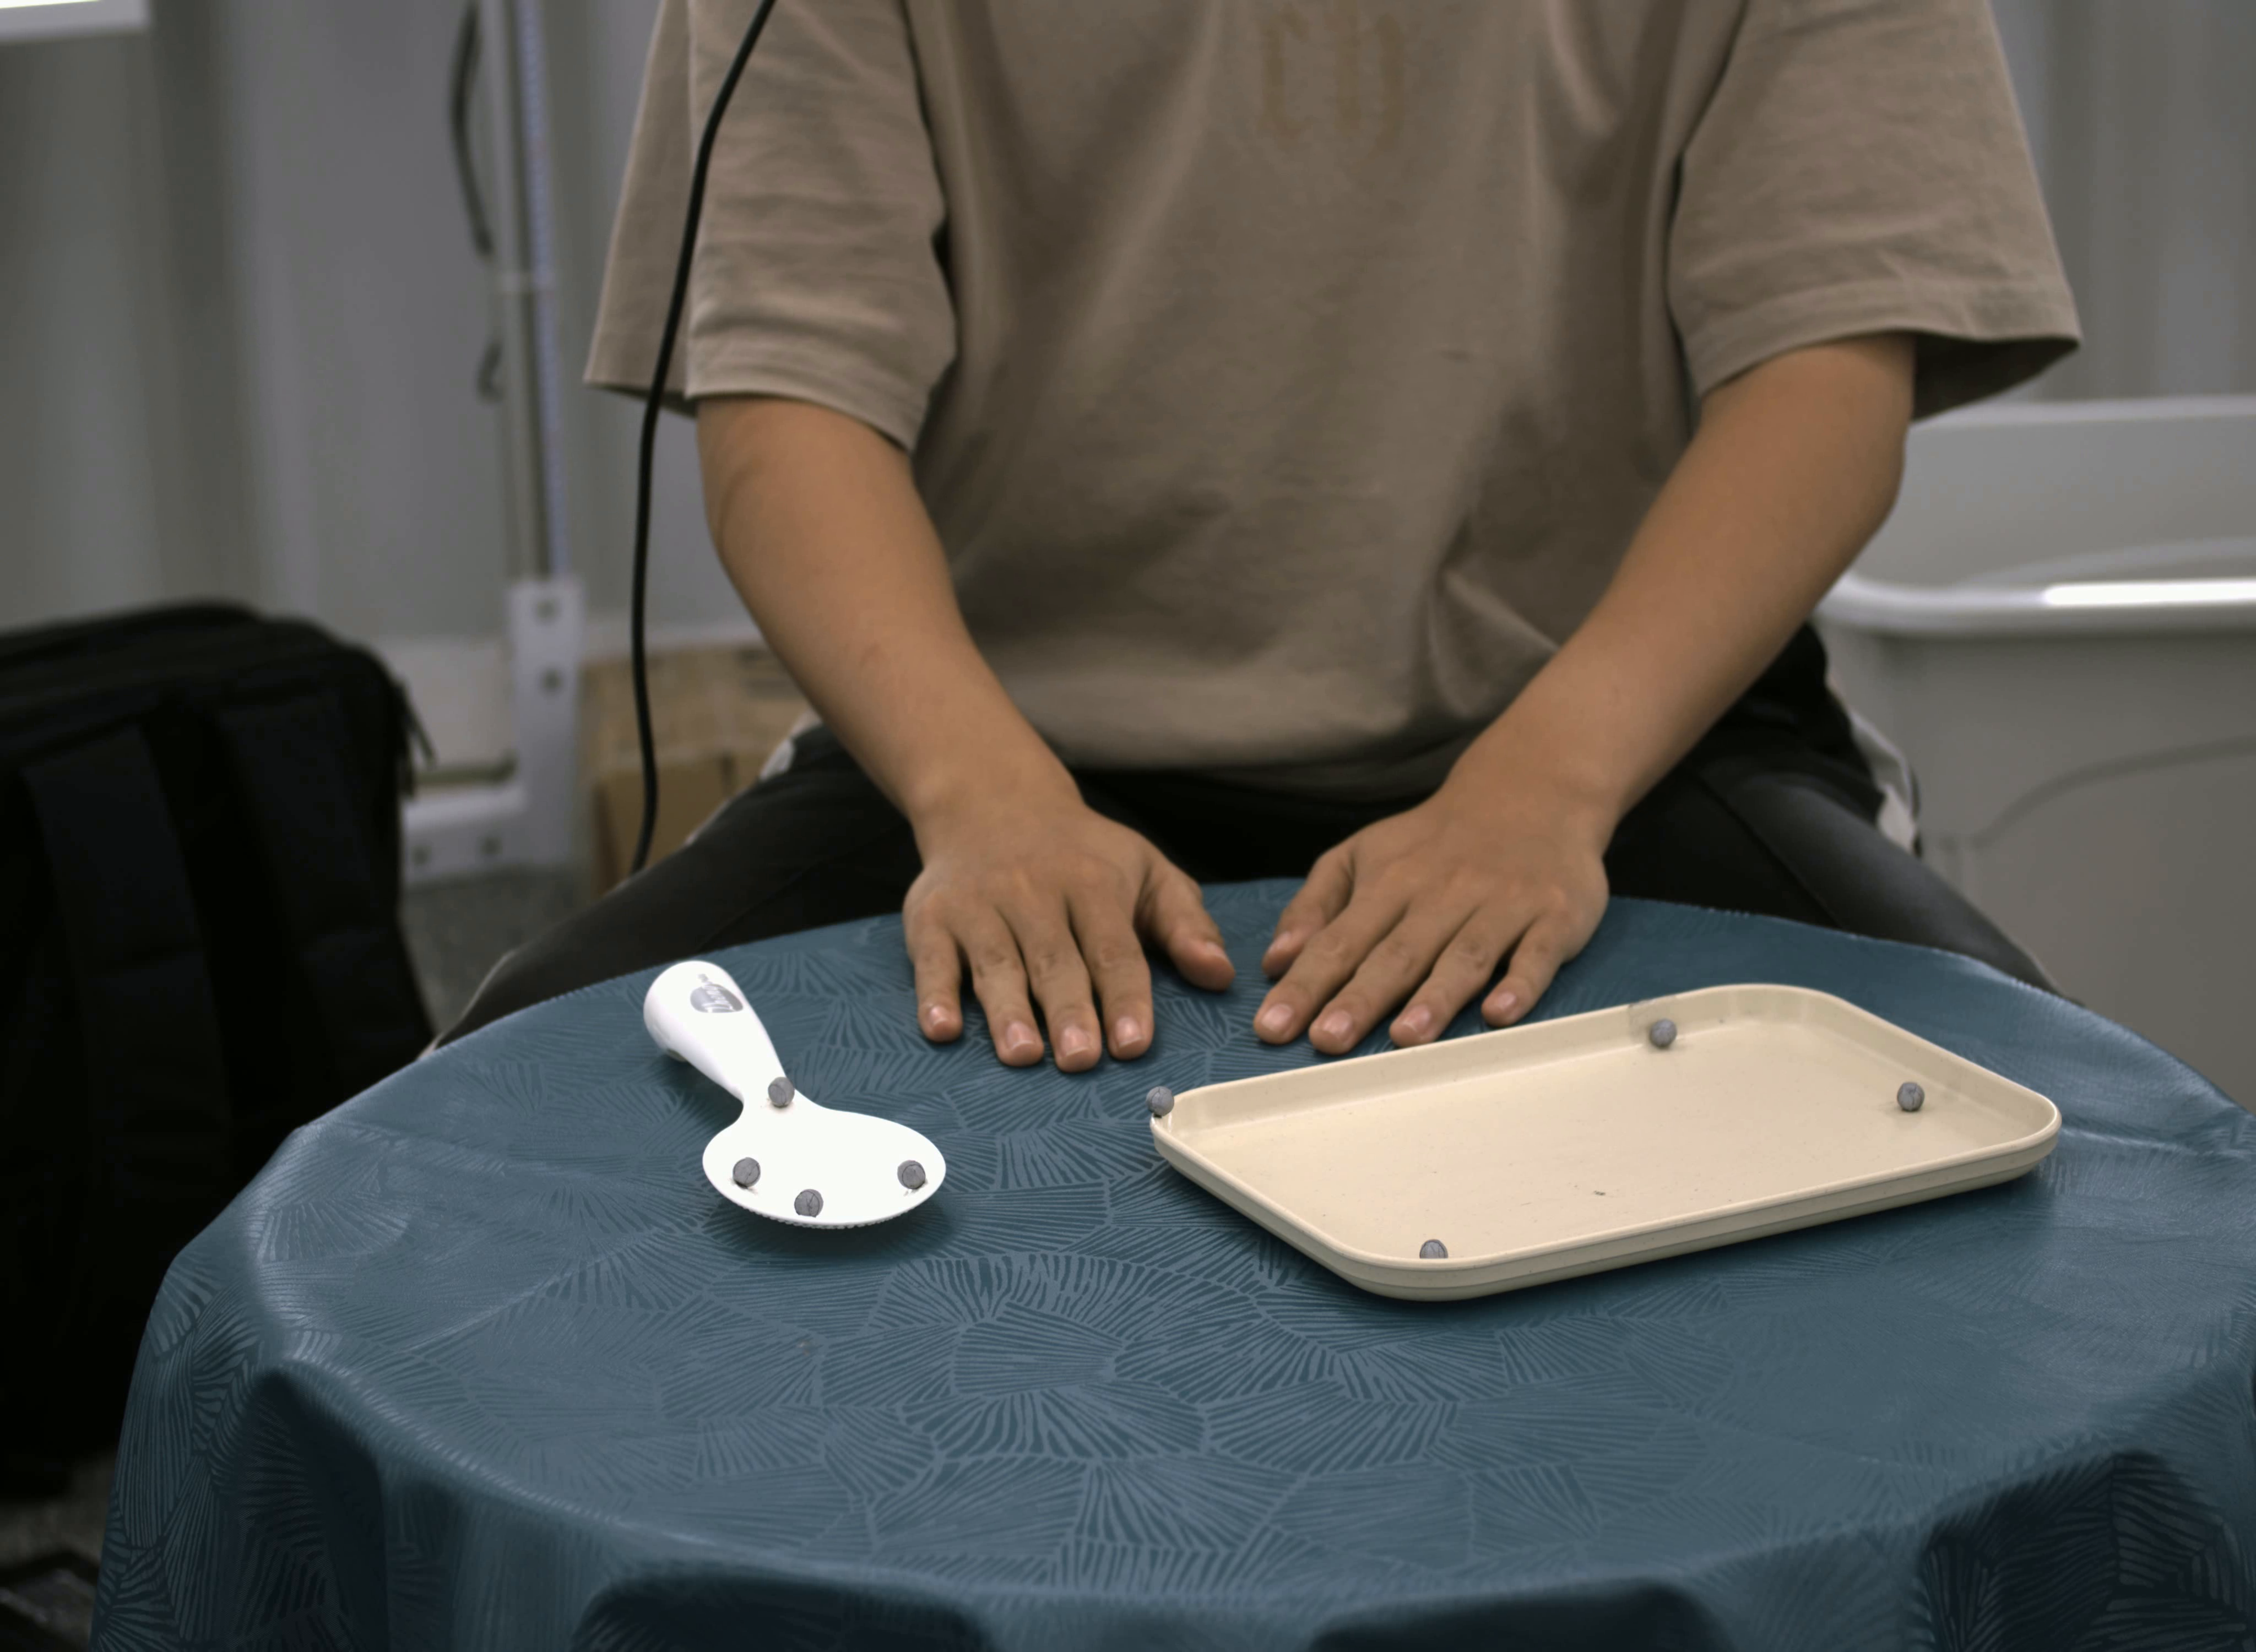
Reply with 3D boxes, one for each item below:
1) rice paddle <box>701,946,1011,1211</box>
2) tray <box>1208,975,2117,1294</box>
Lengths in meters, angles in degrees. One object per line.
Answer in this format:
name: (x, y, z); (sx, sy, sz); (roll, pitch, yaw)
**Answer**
rice paddle: (-0.088, 0.078, 1.602); (0.067, 0.029, 0.208); (-9, 17, -16)
tray: (0.157, 0.090, 1.554); (0.235, 0.017, 0.175); (-9, 18, -23)
